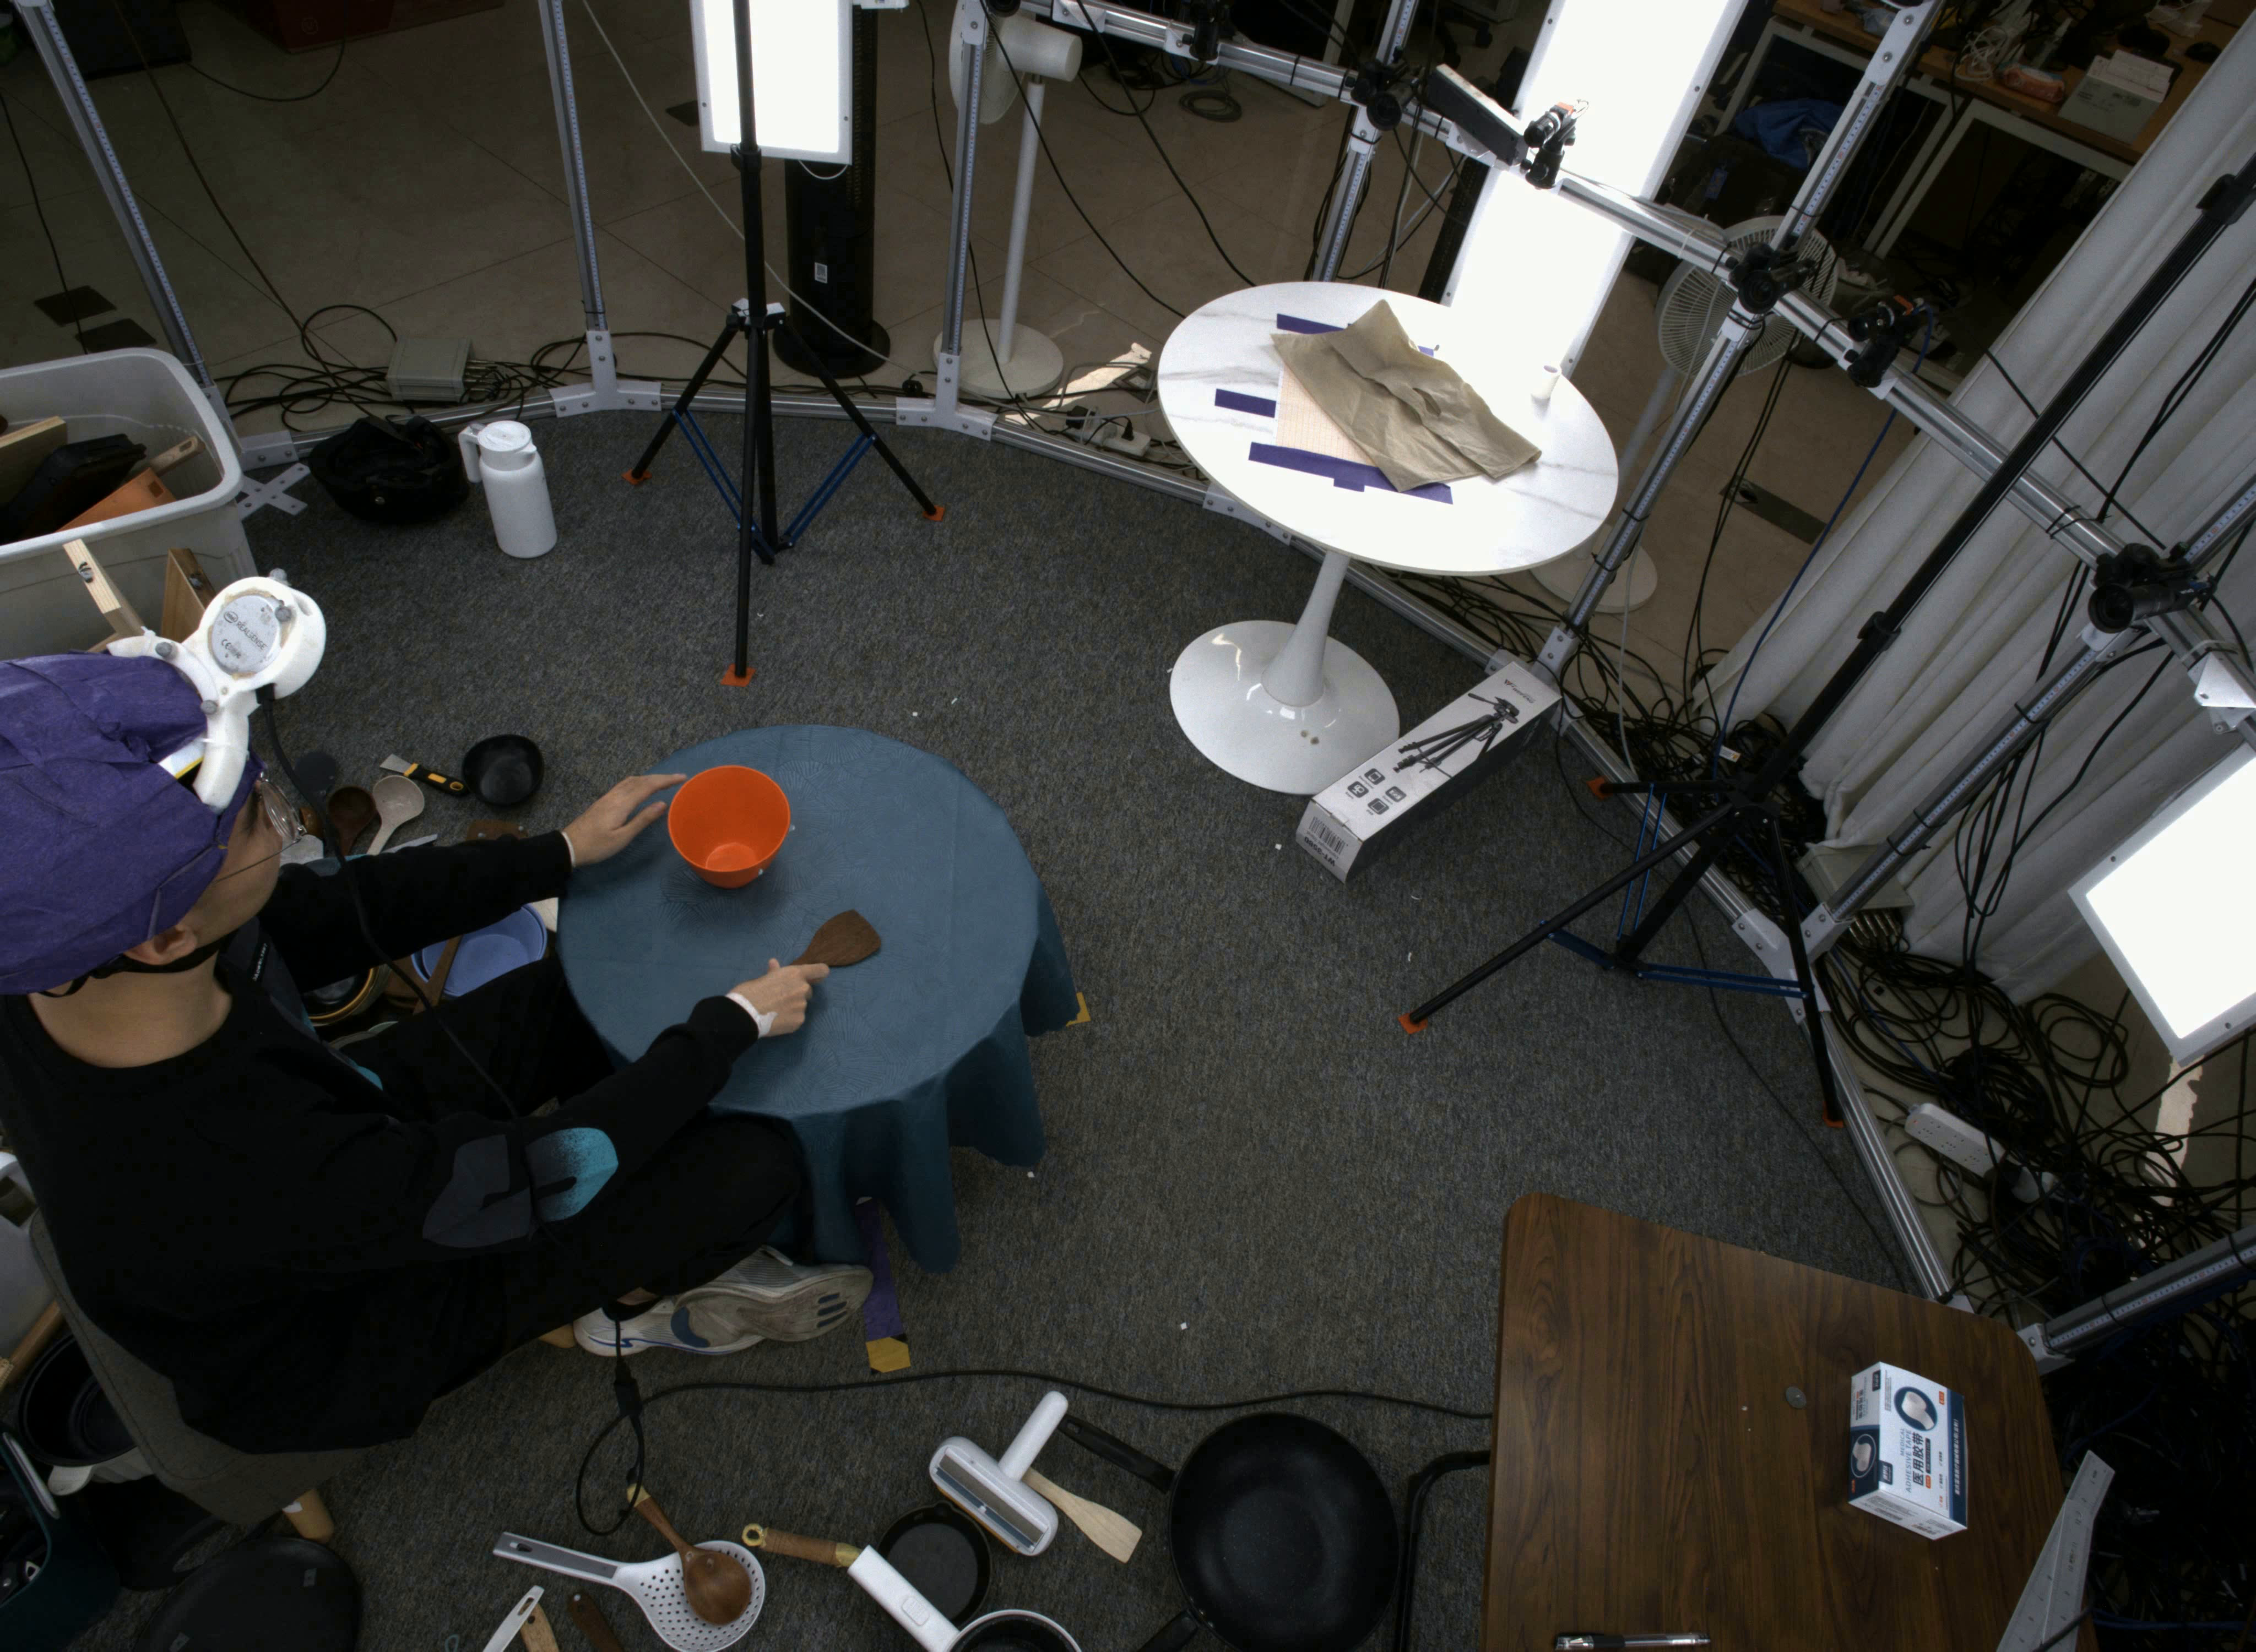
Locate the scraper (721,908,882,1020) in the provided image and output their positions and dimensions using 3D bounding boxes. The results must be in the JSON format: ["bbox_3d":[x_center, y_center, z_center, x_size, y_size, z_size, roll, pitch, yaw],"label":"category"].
[{"bbox_3d":[-0.406,0.173,1.600,0.212,0.011,0.074,-32,66,-31],"label":"scraper"}]

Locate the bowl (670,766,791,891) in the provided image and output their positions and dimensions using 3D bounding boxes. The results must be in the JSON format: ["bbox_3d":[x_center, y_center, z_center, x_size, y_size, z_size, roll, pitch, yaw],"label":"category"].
[{"bbox_3d":[-0.501,0.014,1.635,0.148,0.106,0.145,8,53,-9],"label":"bowl"}]
